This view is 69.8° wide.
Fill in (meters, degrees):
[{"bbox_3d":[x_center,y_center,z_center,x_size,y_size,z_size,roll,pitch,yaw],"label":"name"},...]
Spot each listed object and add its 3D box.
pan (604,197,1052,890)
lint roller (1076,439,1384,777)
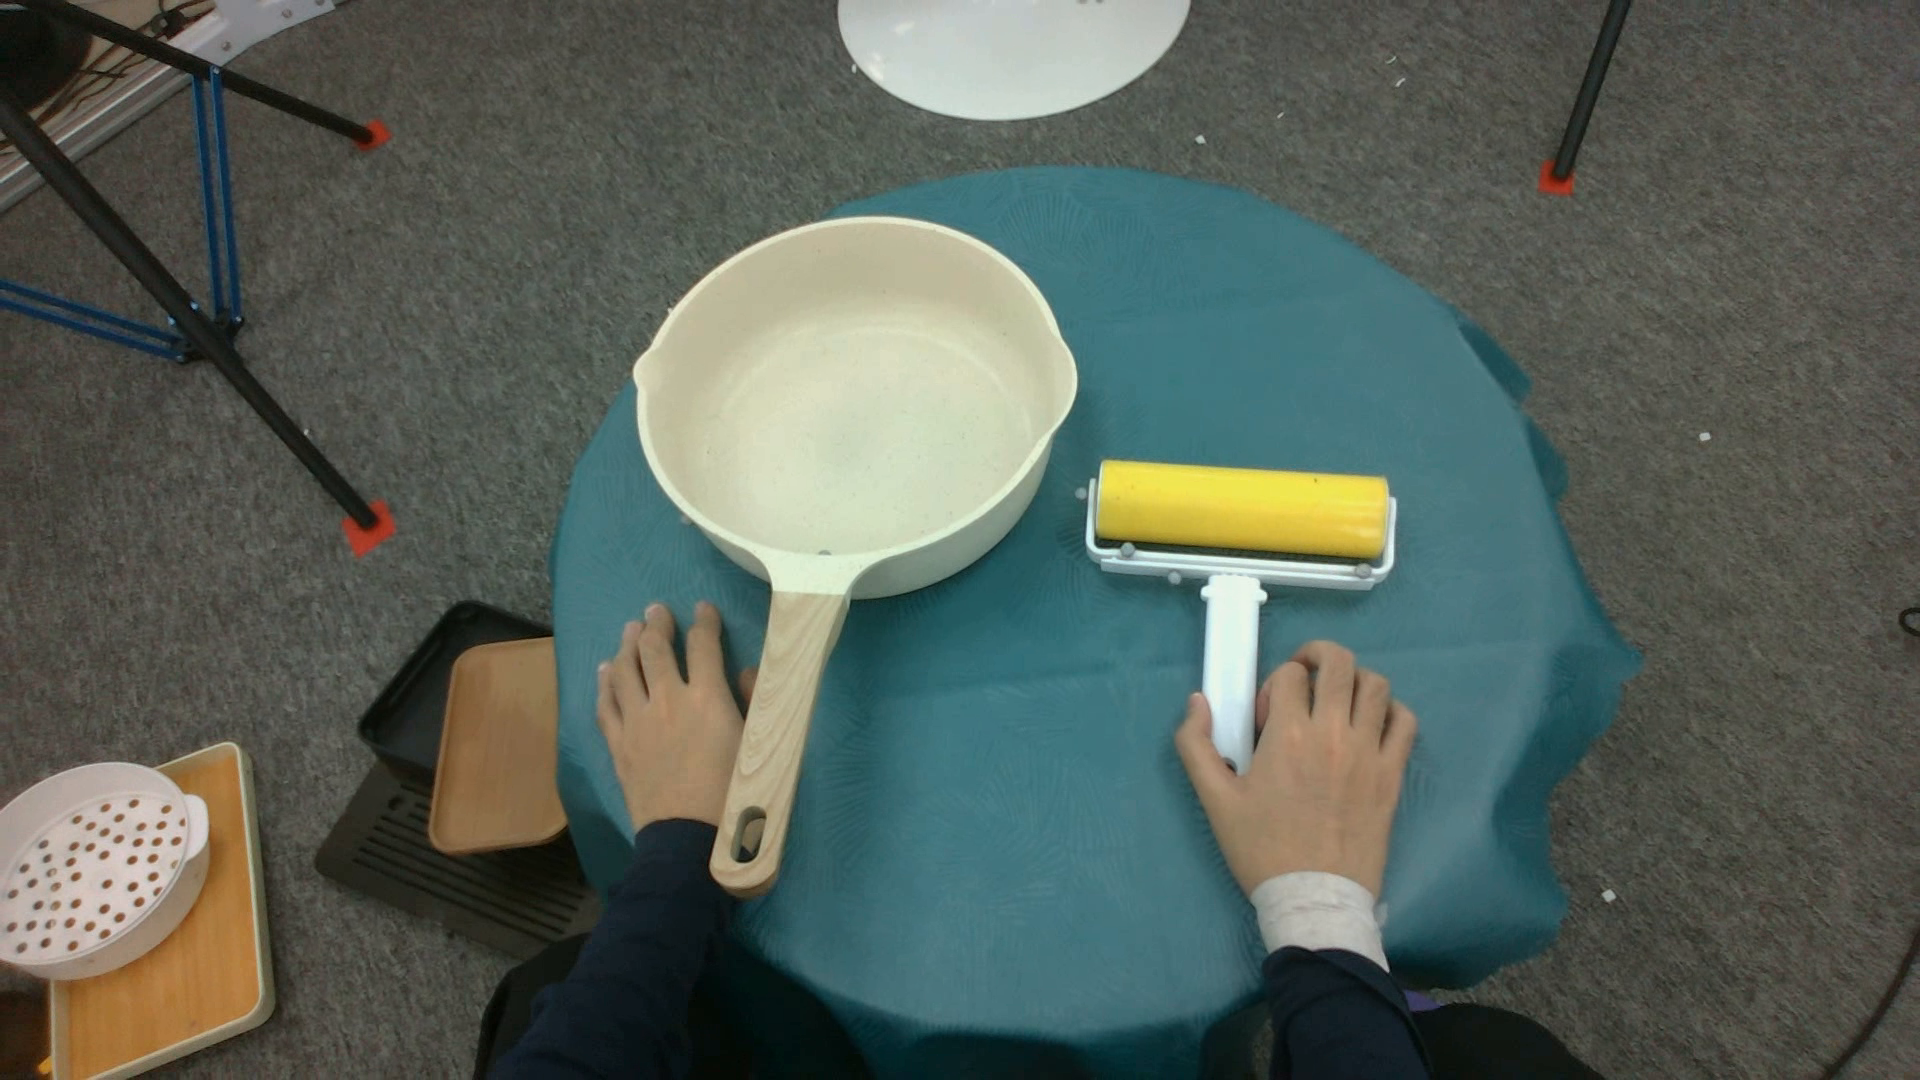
[{"bbox_3d":[-0.085,-0.009,0.781,0.263,0.101,0.436,3,60,4],"label":"pan"},{"bbox_3d":[0.147,0.033,0.765,0.174,0.051,0.193,3,61,7],"label":"lint roller"}]
